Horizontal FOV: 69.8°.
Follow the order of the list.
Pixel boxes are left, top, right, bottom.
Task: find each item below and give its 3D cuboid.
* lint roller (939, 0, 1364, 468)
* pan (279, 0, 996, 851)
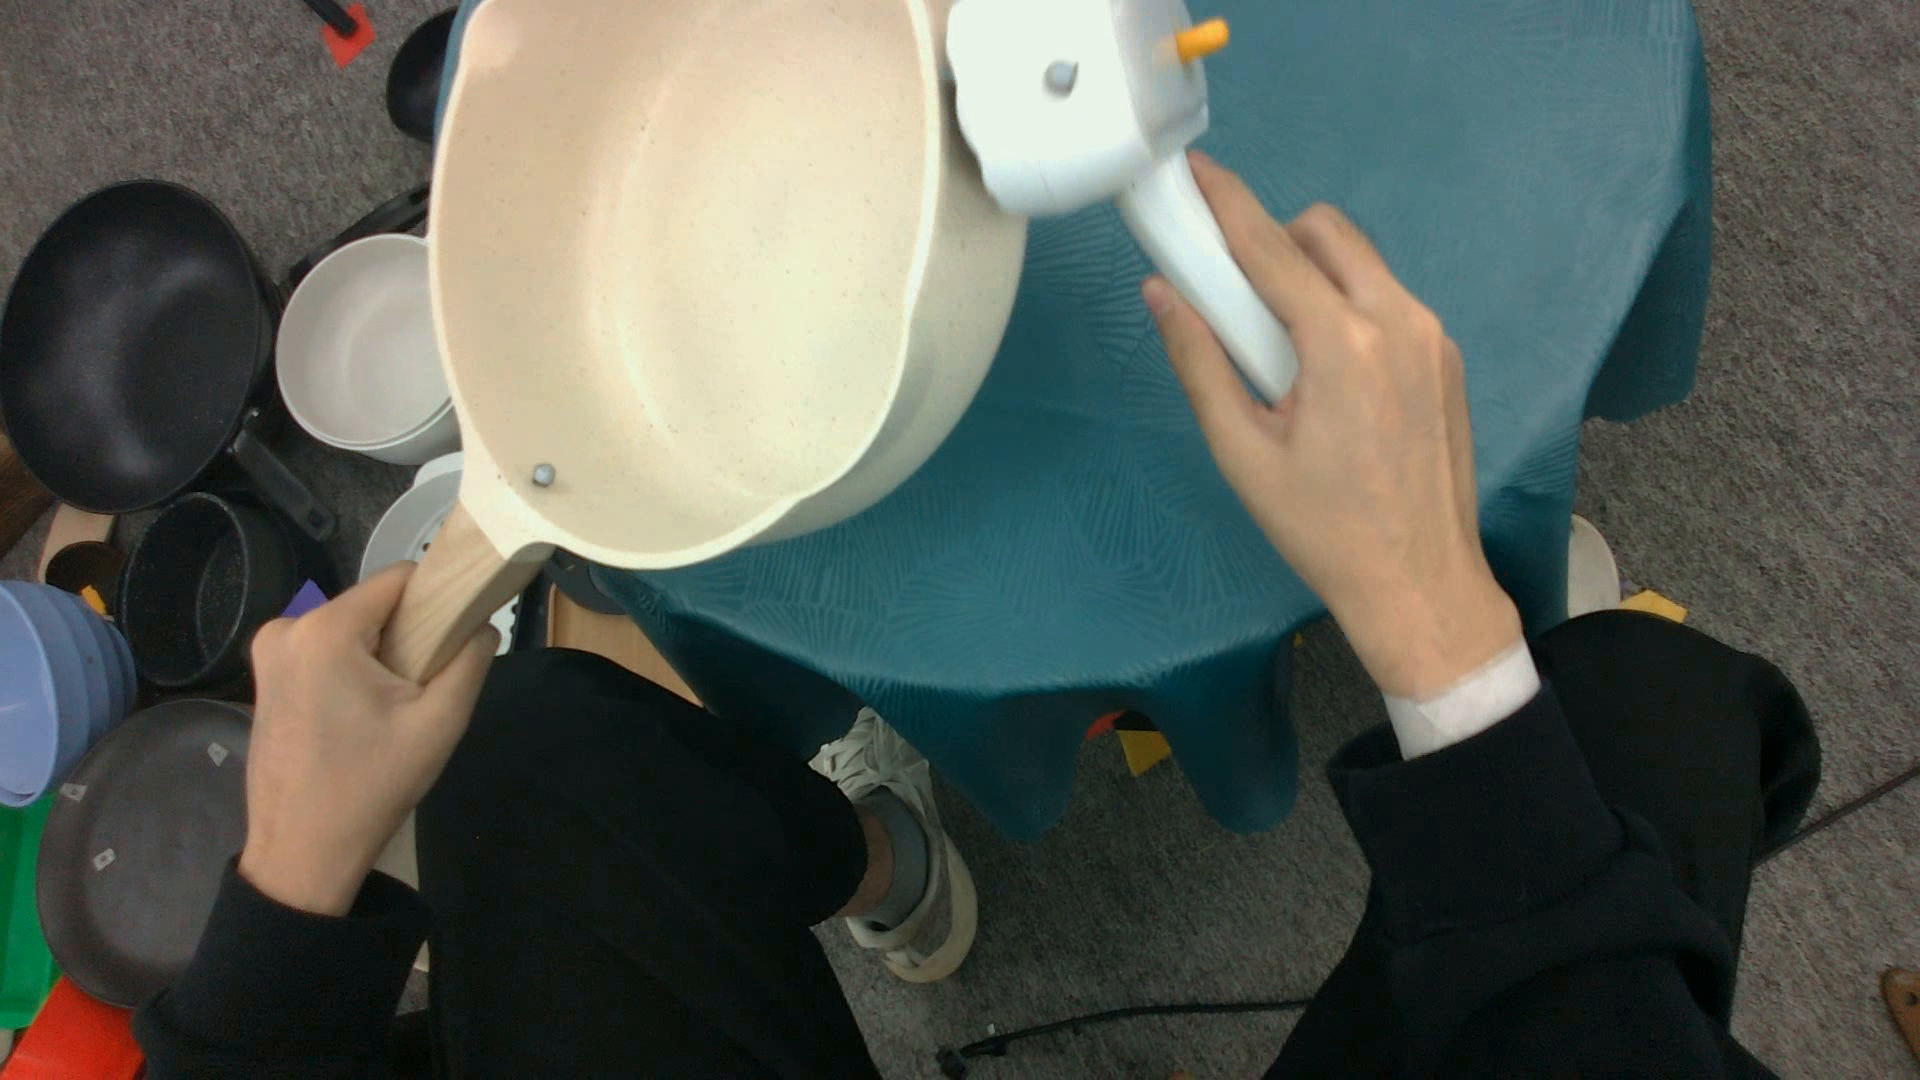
[{"bbox_3d":[0.072,-0.101,0.464,0.074,0.193,0.192,-24,106,19],"label":"lint roller"},{"bbox_3d":[-0.145,-0.052,0.531,0.263,0.102,0.433,42,113,24],"label":"pan"}]
